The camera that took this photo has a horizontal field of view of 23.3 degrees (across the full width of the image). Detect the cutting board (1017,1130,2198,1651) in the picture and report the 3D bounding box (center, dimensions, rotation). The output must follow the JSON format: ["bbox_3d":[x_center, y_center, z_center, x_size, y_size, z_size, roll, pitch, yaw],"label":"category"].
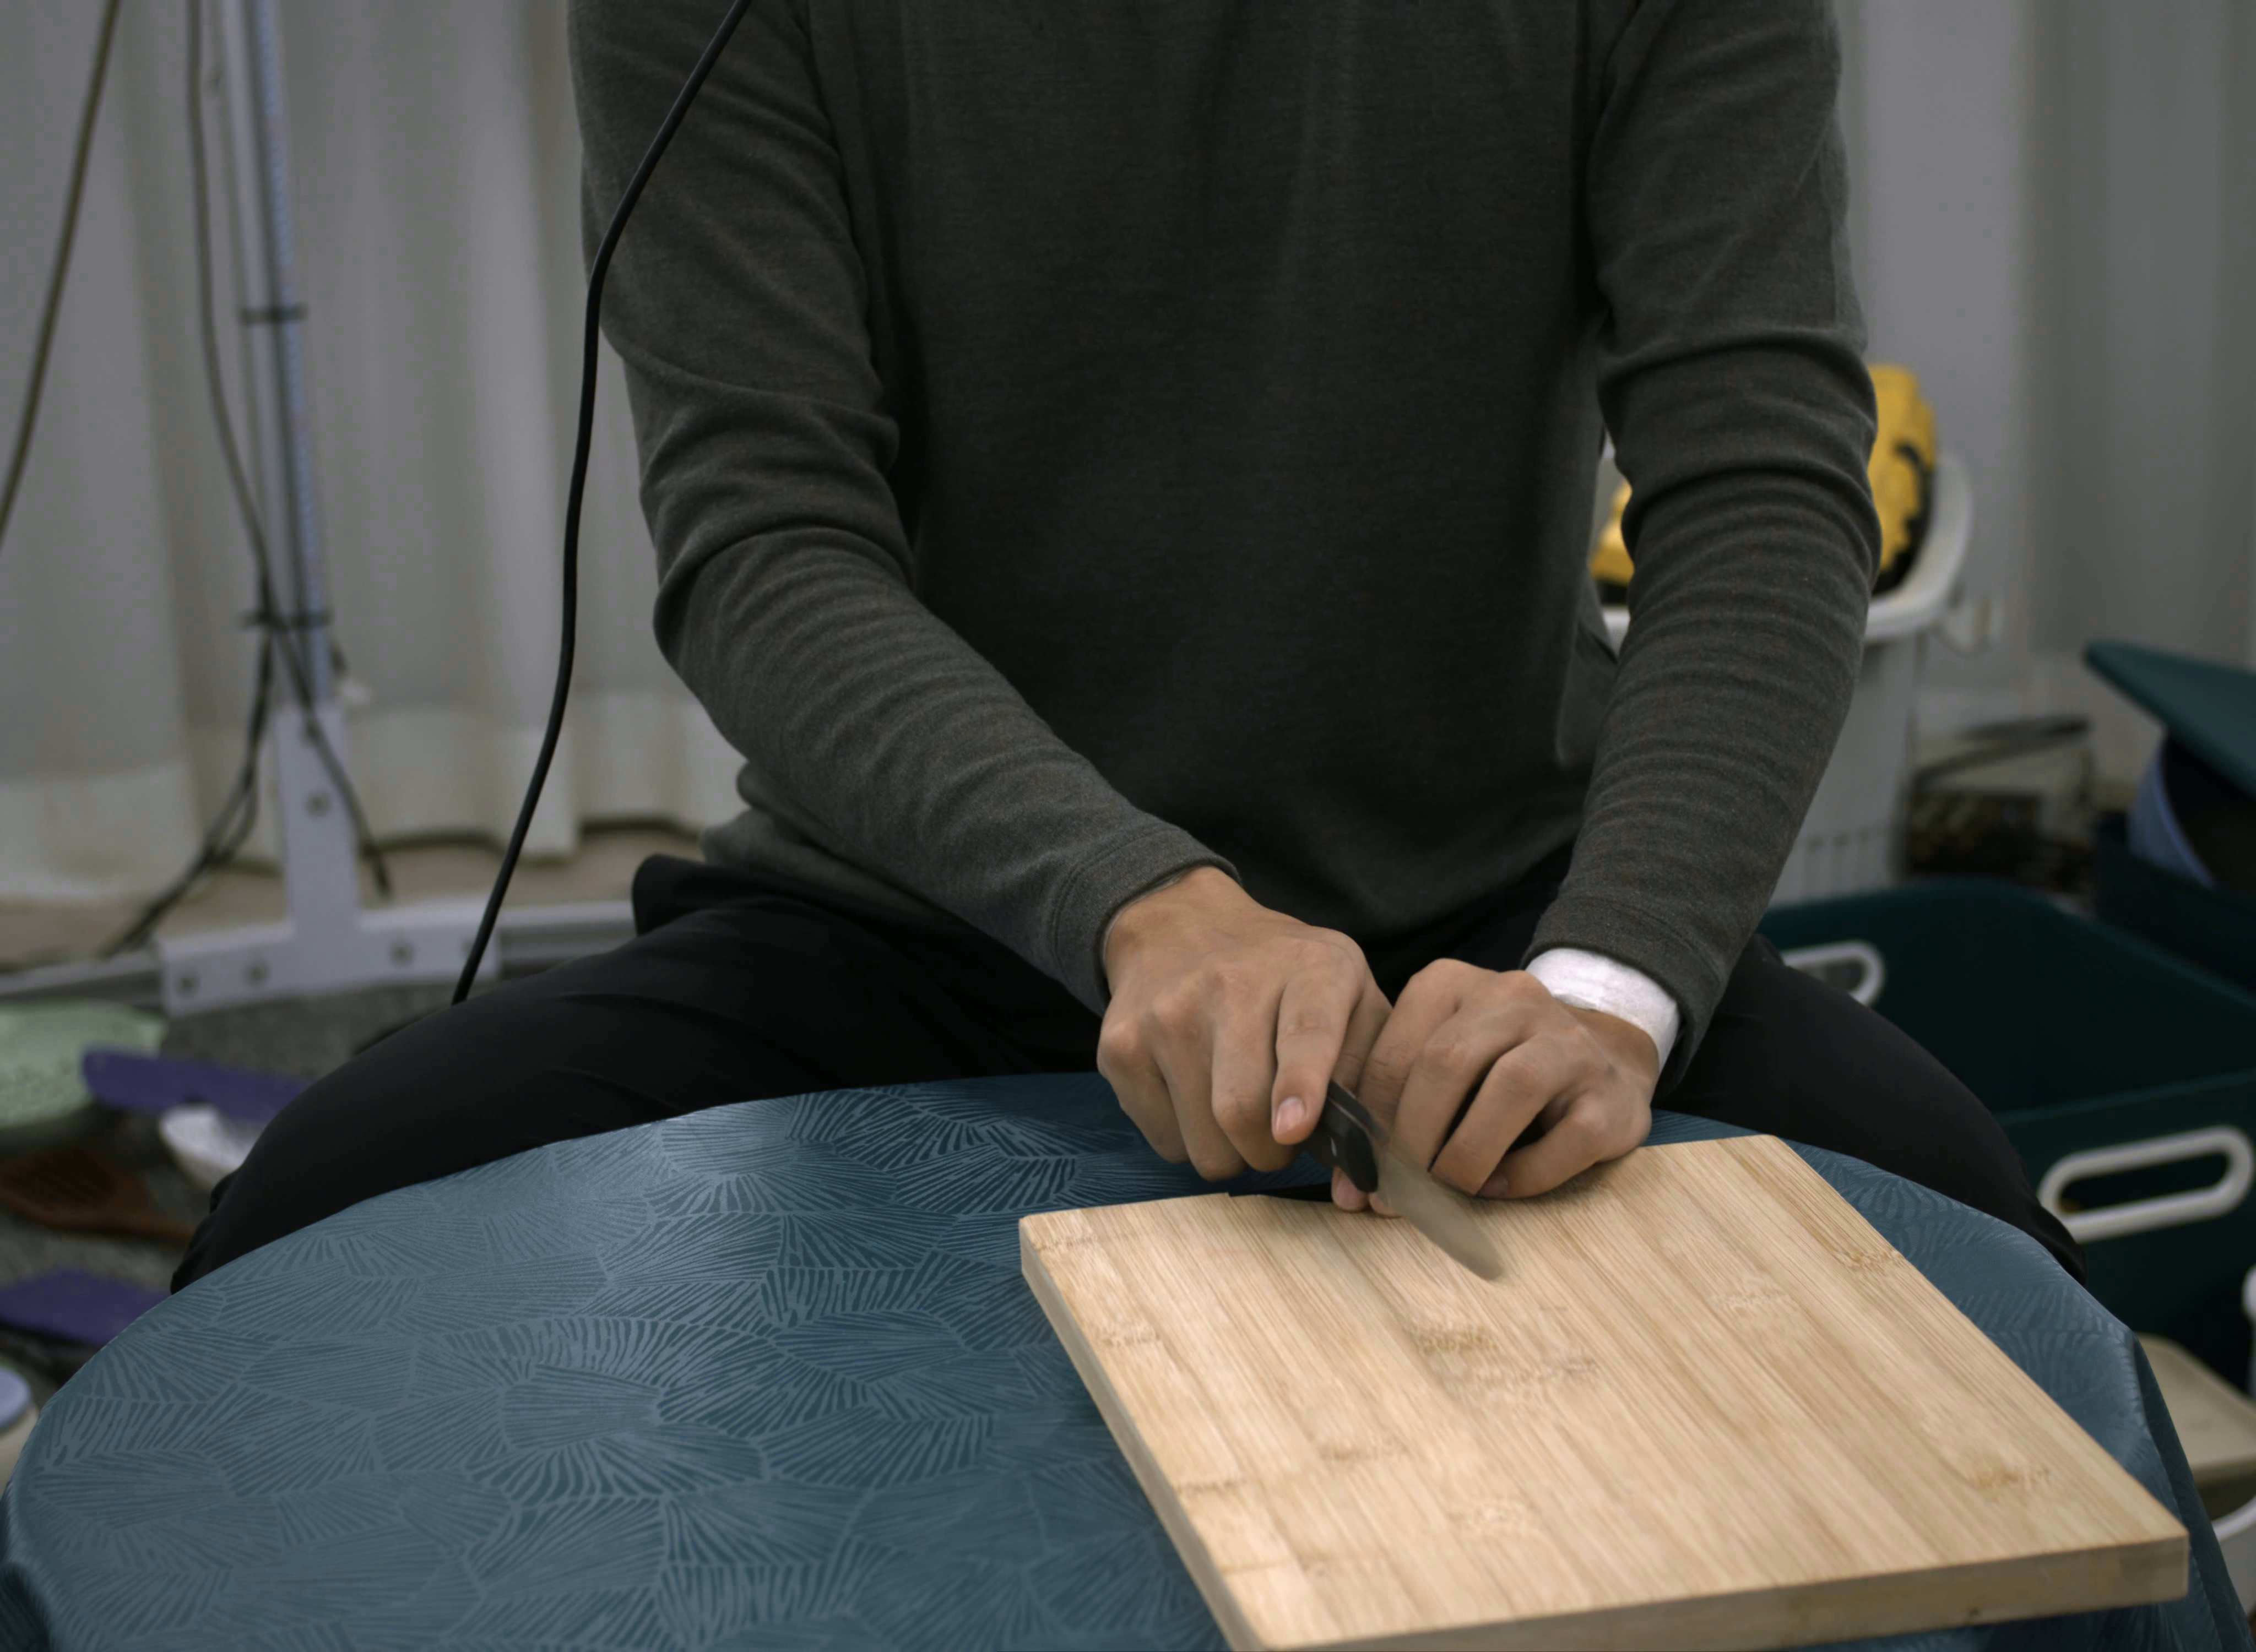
[{"bbox_3d":[0.117,0.155,1.512,0.249,0.023,0.351,-5,15,-11],"label":"cutting board"}]

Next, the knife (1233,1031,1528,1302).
[{"bbox_3d":[0.072,0.097,1.580,0.016,0.024,0.240,-16,17,-13],"label":"knife"}]
